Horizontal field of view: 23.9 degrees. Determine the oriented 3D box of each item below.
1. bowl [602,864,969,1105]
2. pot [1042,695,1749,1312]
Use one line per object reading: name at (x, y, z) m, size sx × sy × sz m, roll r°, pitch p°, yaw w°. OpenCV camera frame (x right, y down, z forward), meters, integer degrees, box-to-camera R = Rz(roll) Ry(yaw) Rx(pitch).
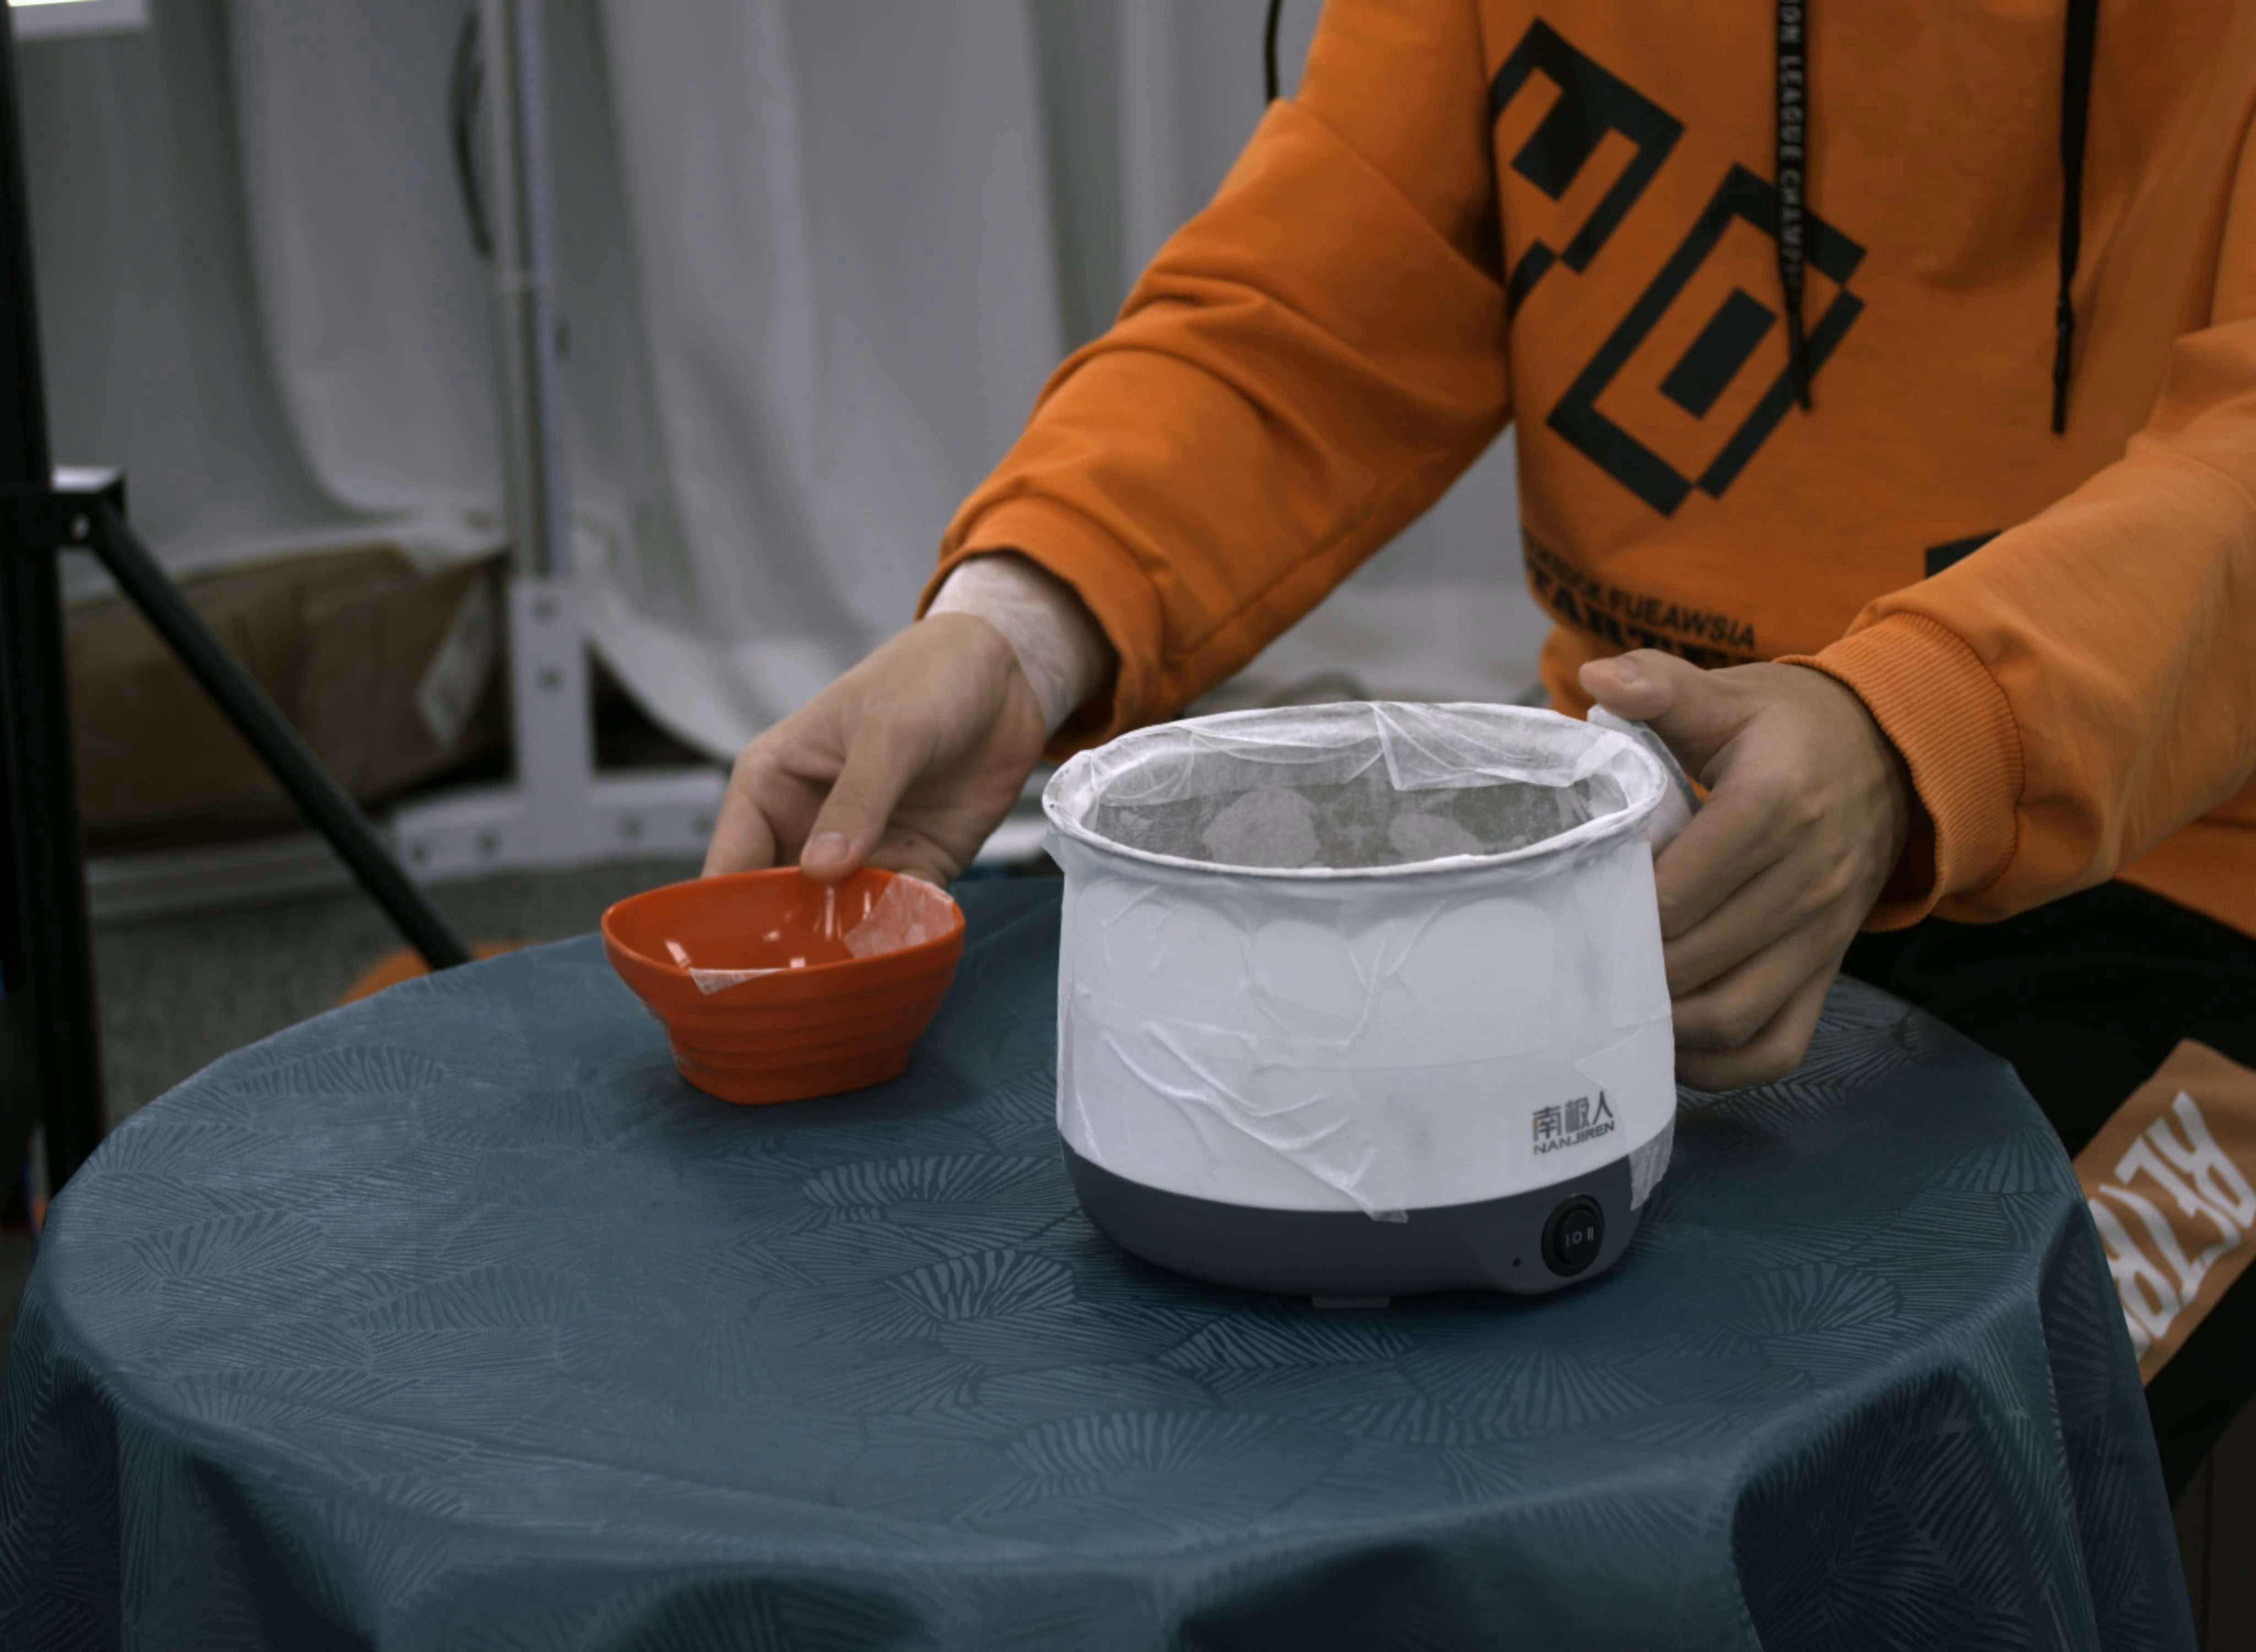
bowl at (-0.107, 0.052, 1.680) m, size 0.118 × 0.051 × 0.119 m, roll -4°, pitch 15°, yaw 0°
pot at (0.087, 0.043, 1.521) m, size 0.228 × 0.136 × 0.183 m, roll -15°, pitch 21°, yaw -37°
